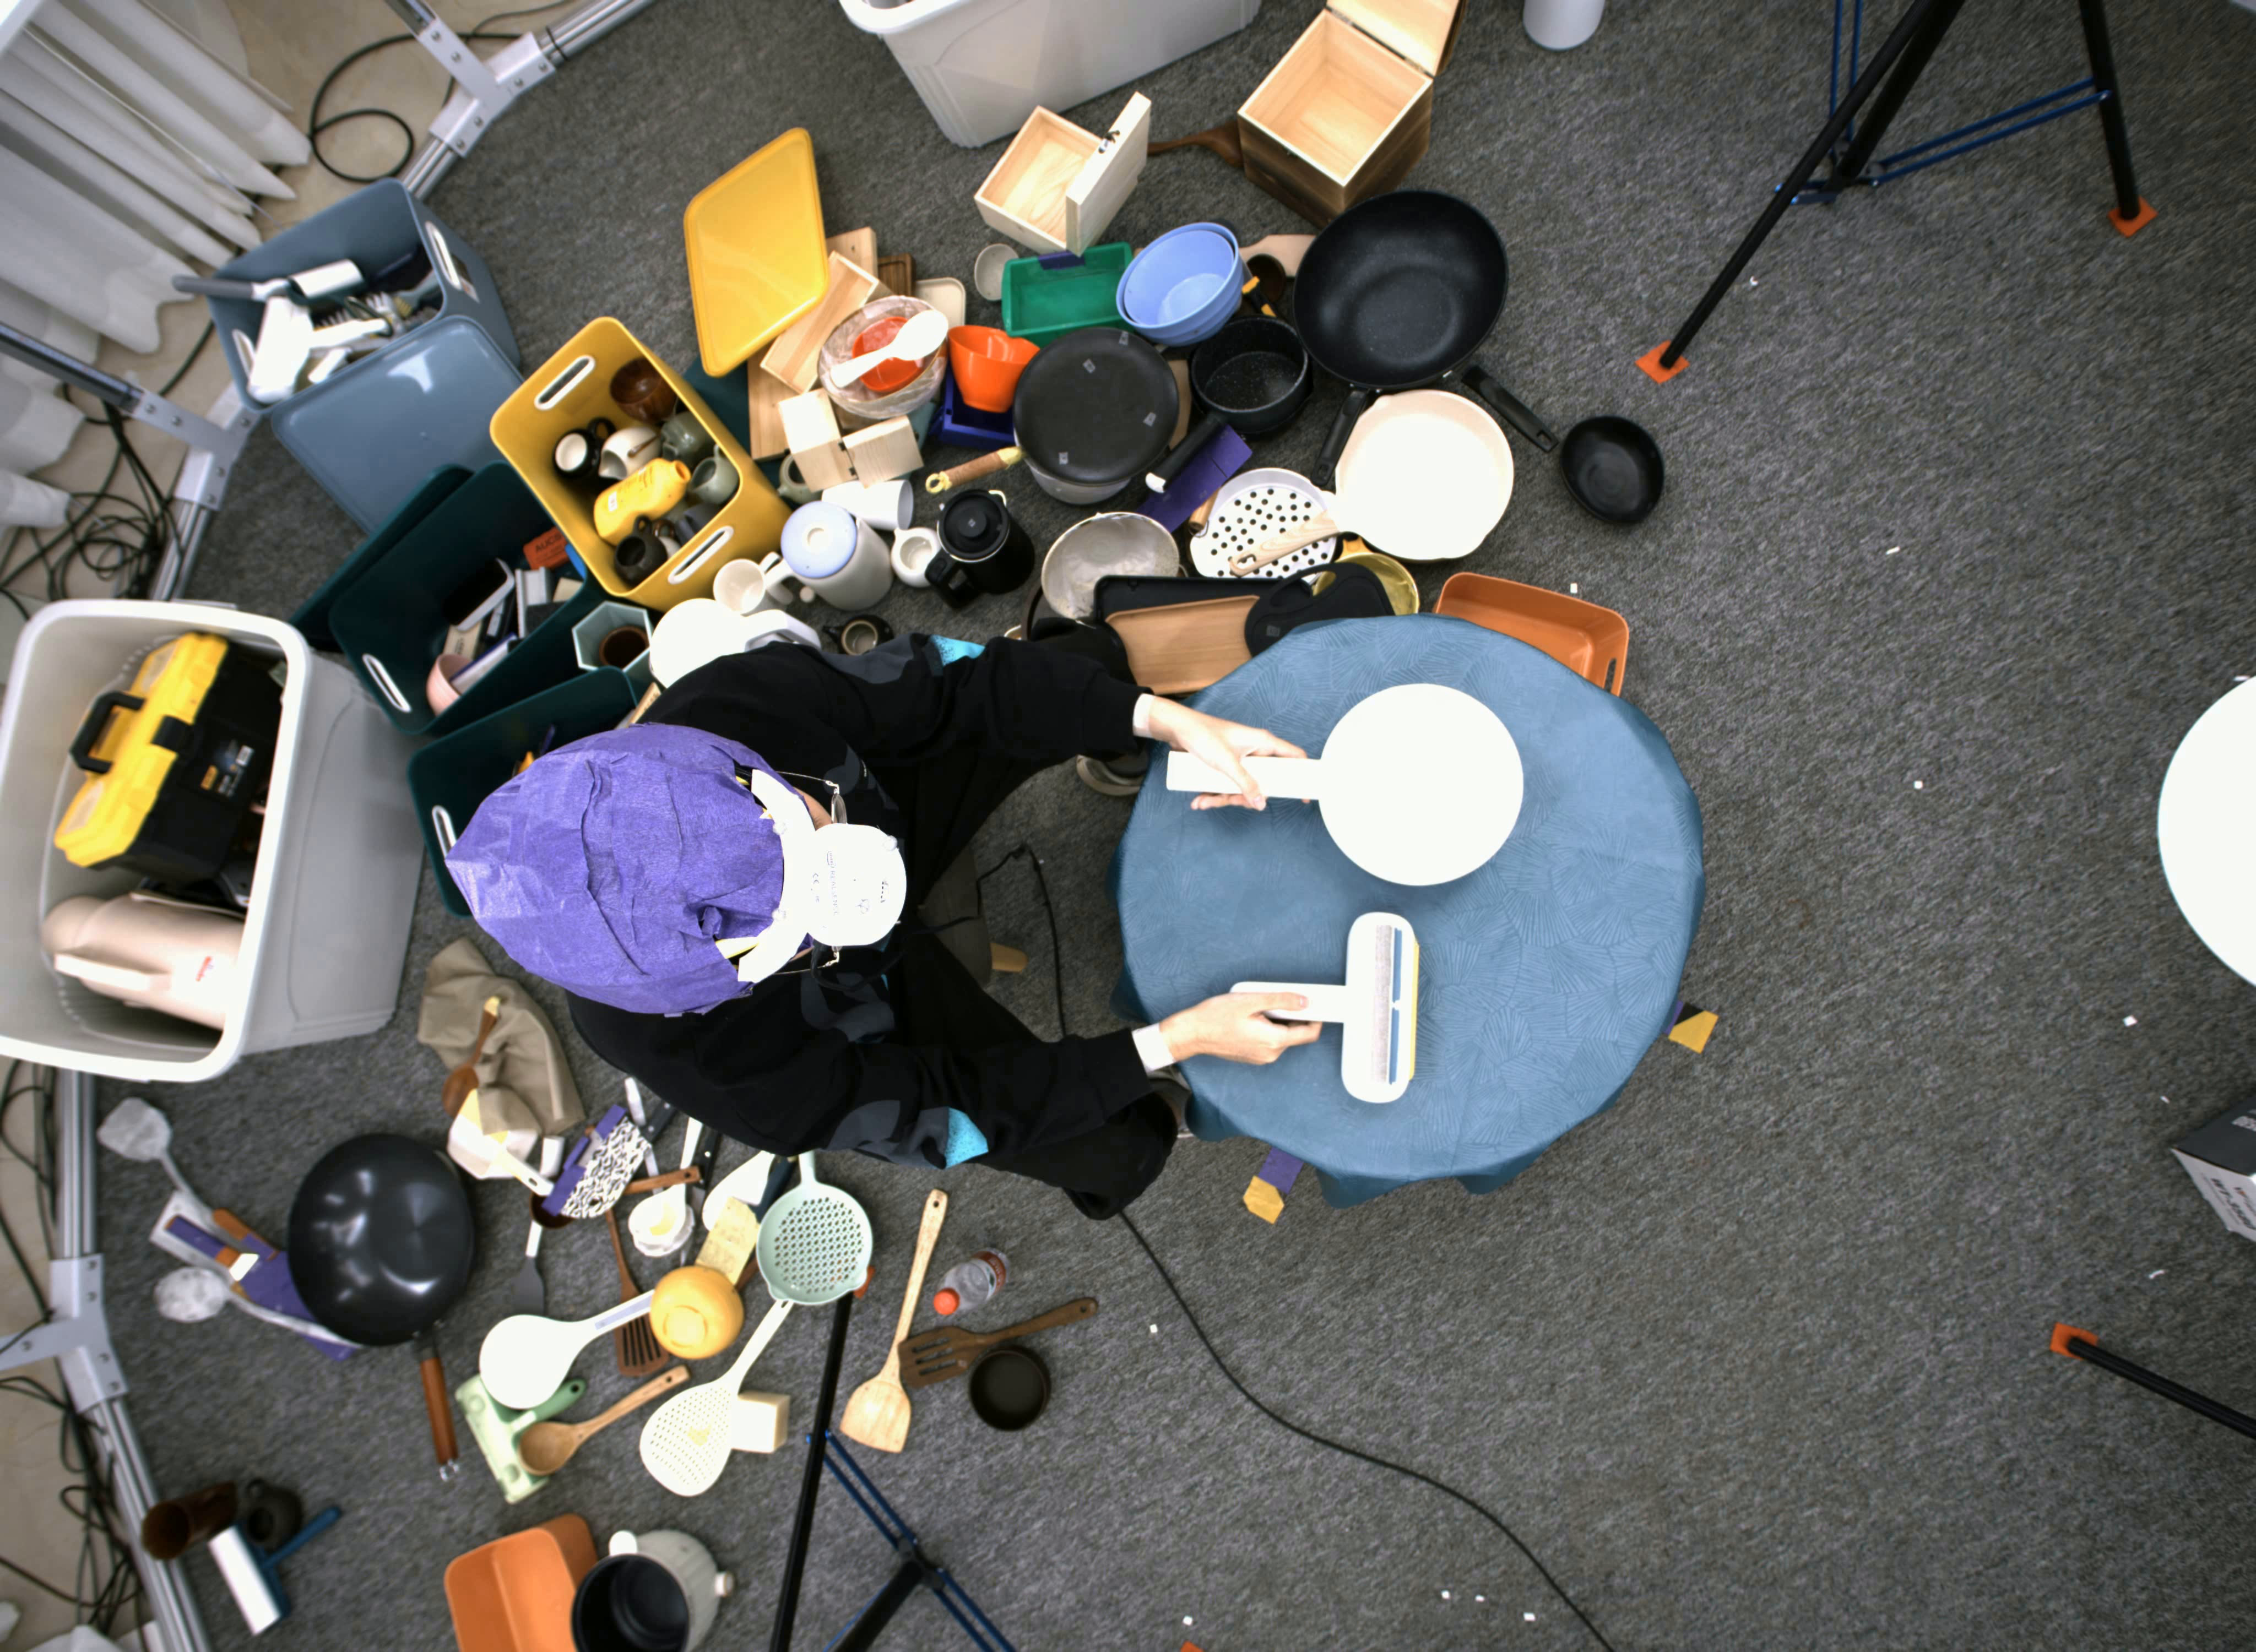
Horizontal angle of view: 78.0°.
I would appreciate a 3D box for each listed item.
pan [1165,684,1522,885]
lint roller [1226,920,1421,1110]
[{"bbox_3d":[0.219,-0.044,1.419,0.356,0.102,0.200,4,88,11],"label":"pan"},{"bbox_3d":[0.196,0.183,1.421,0.193,0.074,0.191,8,83,3],"label":"lint roller"}]
